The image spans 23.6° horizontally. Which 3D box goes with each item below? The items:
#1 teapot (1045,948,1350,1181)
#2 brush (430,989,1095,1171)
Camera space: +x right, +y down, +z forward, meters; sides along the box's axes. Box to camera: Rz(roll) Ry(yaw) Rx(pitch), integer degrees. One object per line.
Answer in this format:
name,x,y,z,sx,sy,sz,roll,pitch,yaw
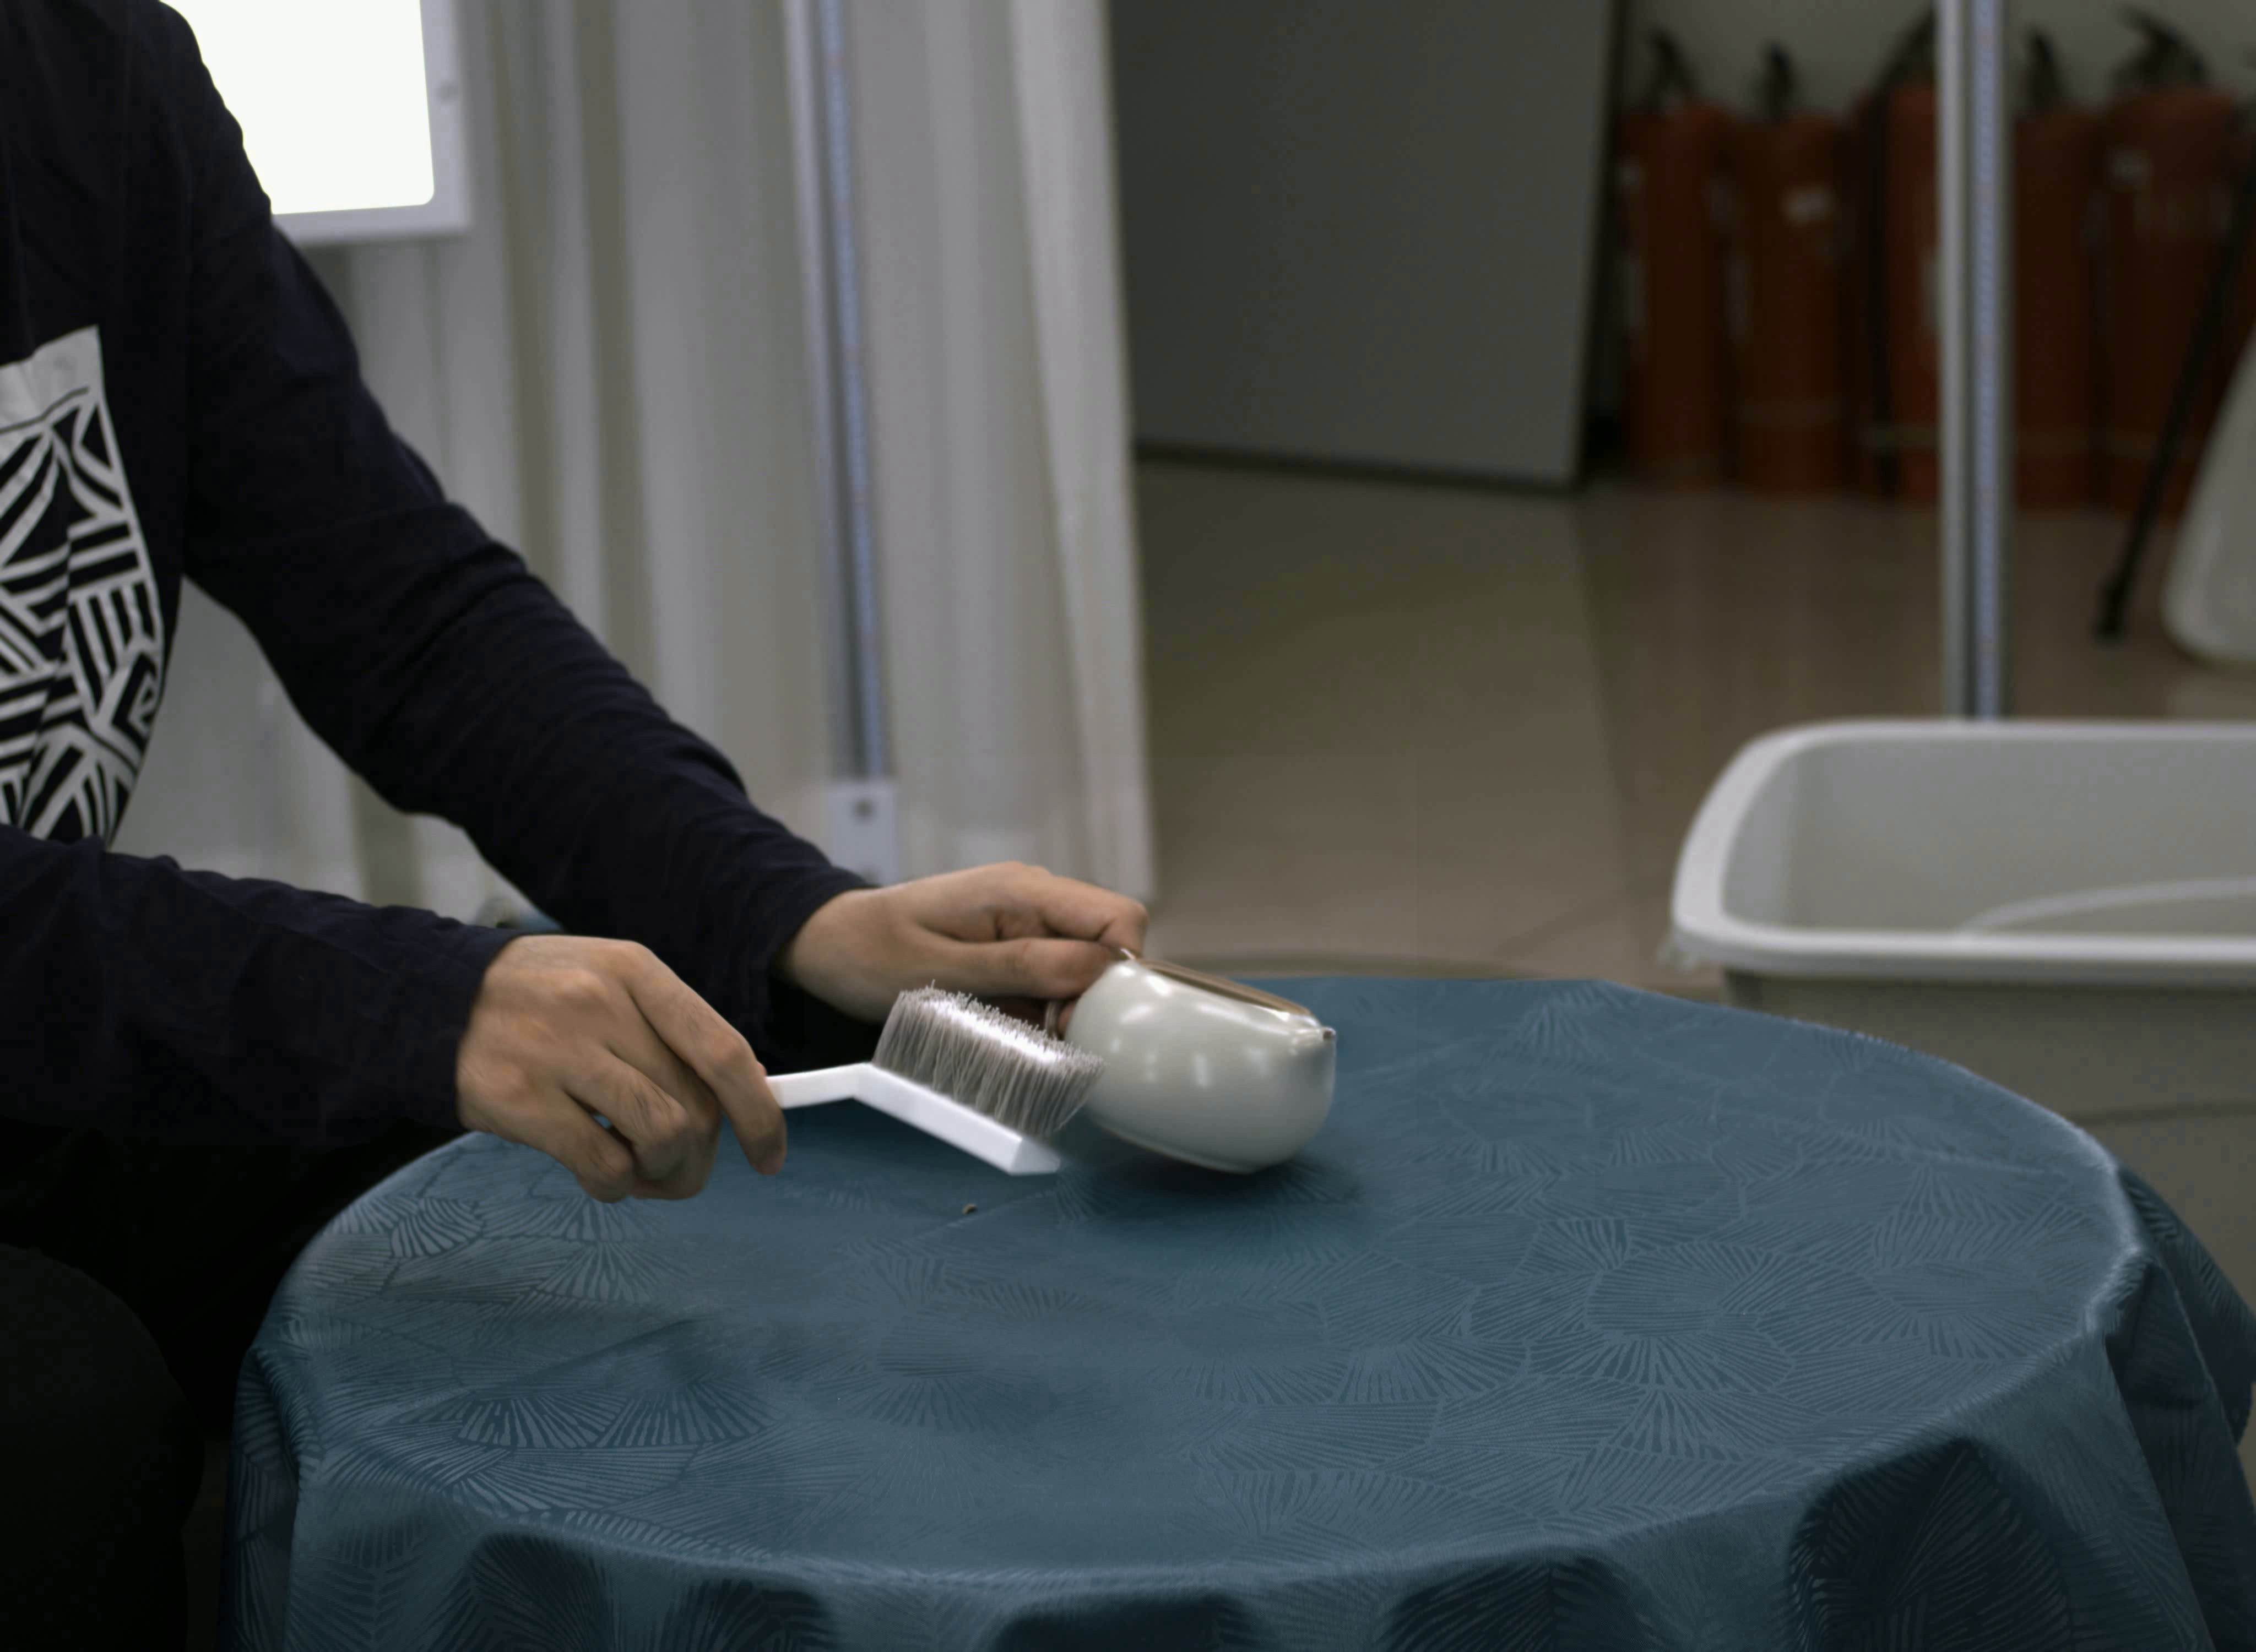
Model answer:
teapot,0.019,0.078,1.787,0.129,0.060,0.090,20,7,42
brush,-0.118,0.071,1.671,0.245,0.051,0.034,4,6,33
